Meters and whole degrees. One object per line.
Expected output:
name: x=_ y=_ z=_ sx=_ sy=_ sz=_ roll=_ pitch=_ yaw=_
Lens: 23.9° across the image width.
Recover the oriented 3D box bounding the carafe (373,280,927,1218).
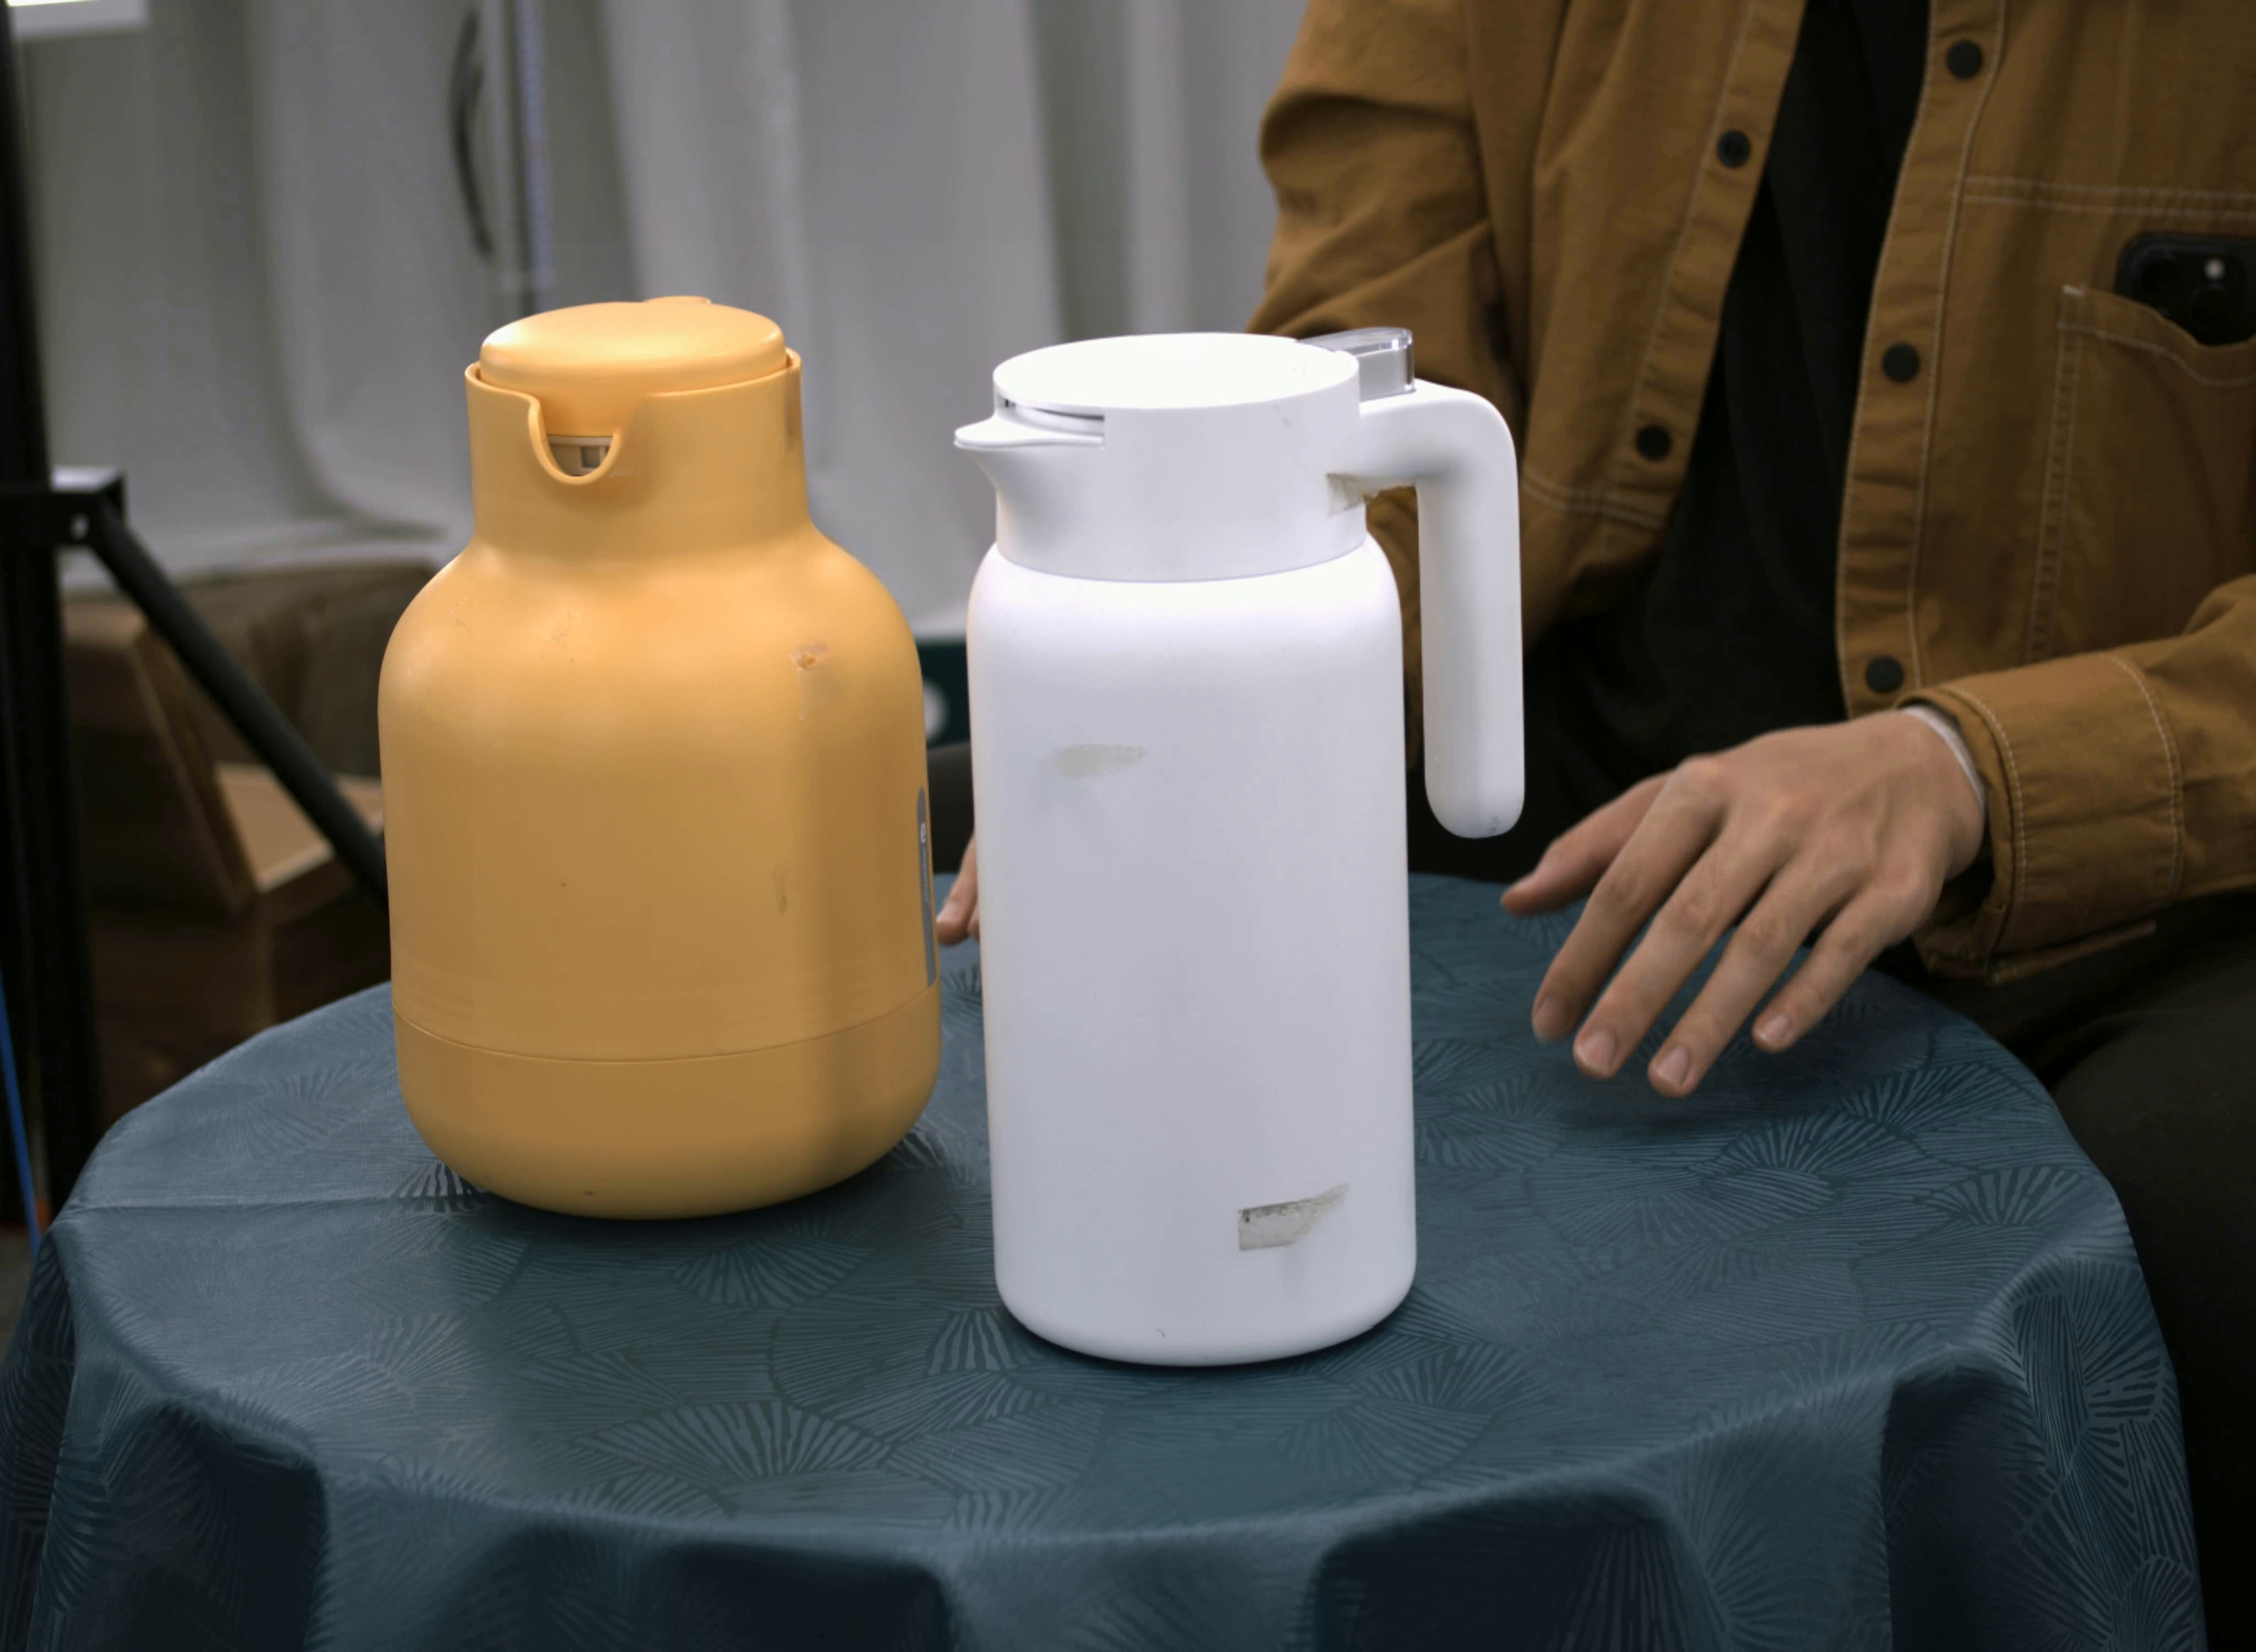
carafe: x=-0.136 y=-0.031 z=1.587 sx=0.164 sy=0.260 sz=0.201 roll=4 pitch=17 yaw=11

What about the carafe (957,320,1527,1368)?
carafe: x=0.032 y=0.001 z=1.440 sx=0.169 sy=0.269 sz=0.126 roll=-11 pitch=16 yaw=-31
